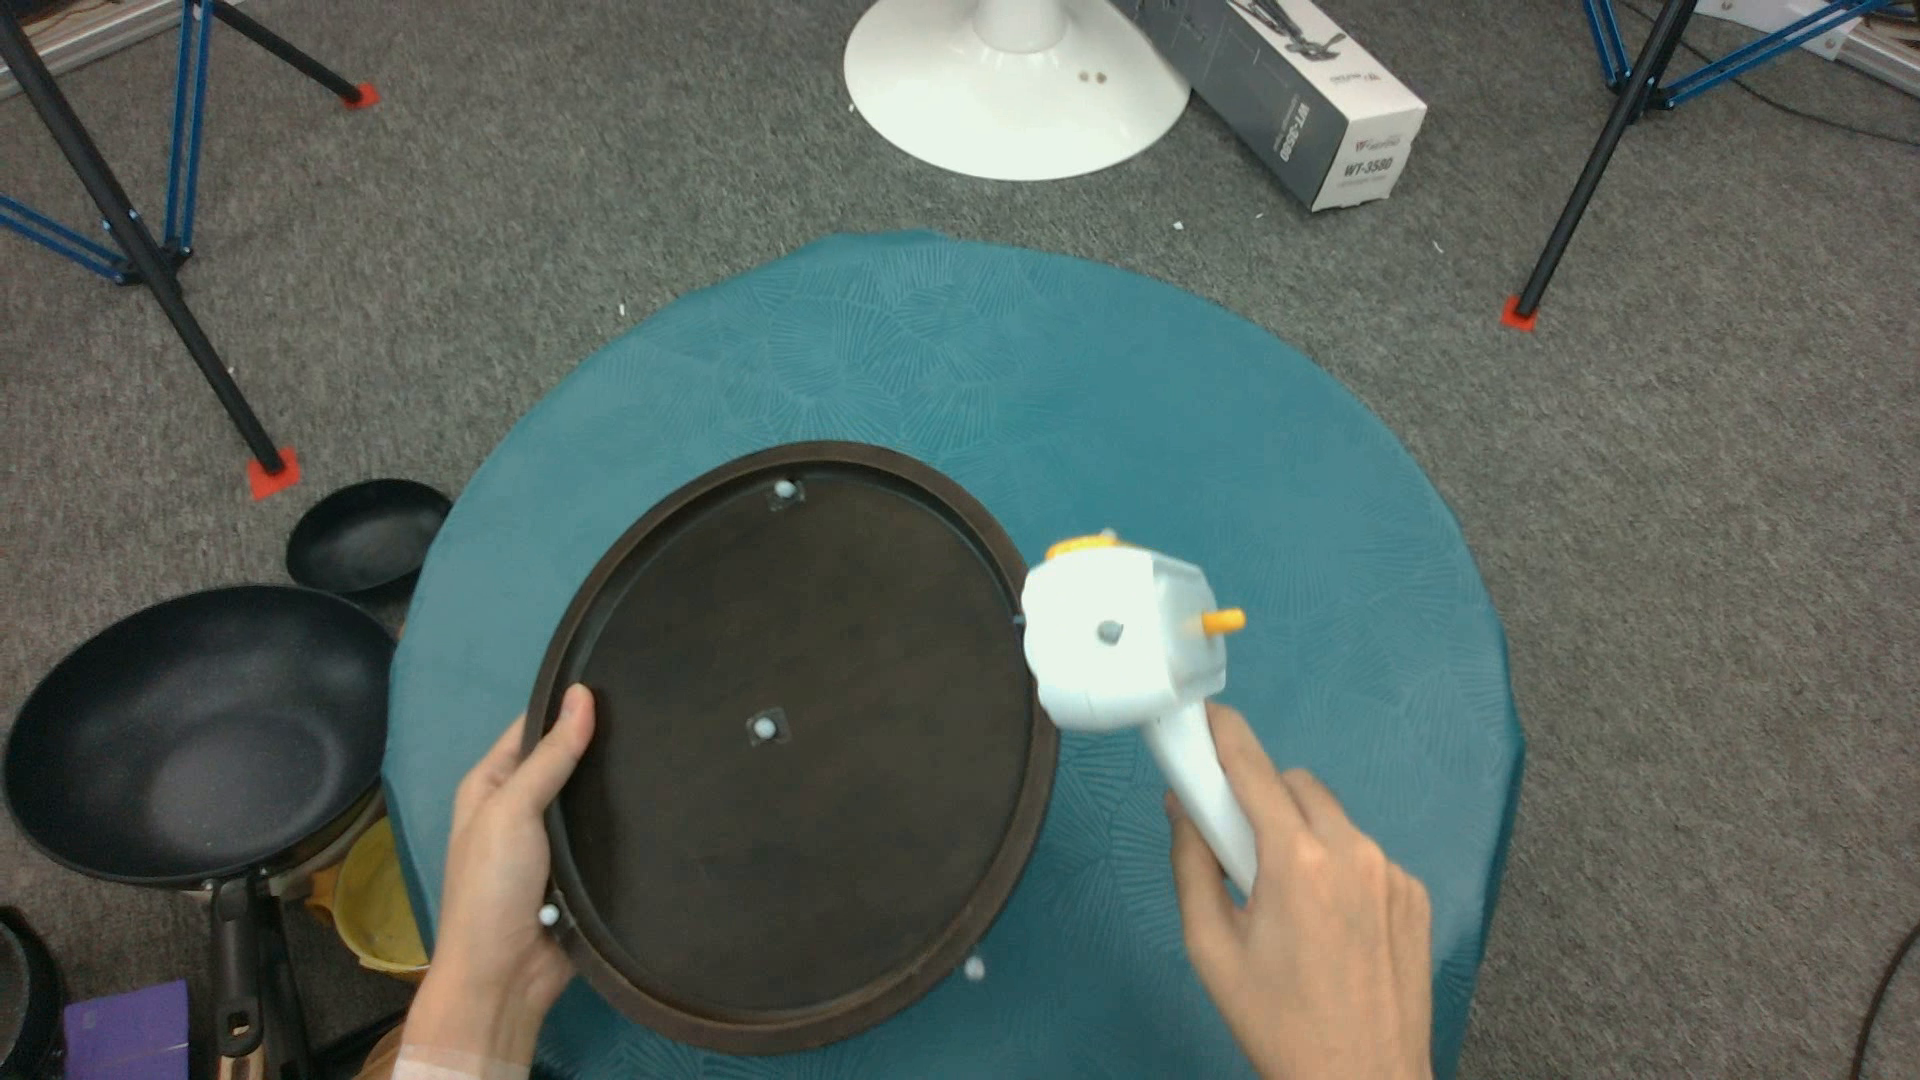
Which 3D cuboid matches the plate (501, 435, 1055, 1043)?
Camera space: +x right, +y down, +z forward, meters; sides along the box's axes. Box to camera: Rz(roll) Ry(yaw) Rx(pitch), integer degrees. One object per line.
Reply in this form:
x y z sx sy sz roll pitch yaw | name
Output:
-0.081 0.076 0.579 0.254 0.029 0.255 -7 70 19 | plate

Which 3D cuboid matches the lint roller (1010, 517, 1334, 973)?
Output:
0.088 0.081 0.541 0.074 0.193 0.192 -19 85 10 | lint roller
